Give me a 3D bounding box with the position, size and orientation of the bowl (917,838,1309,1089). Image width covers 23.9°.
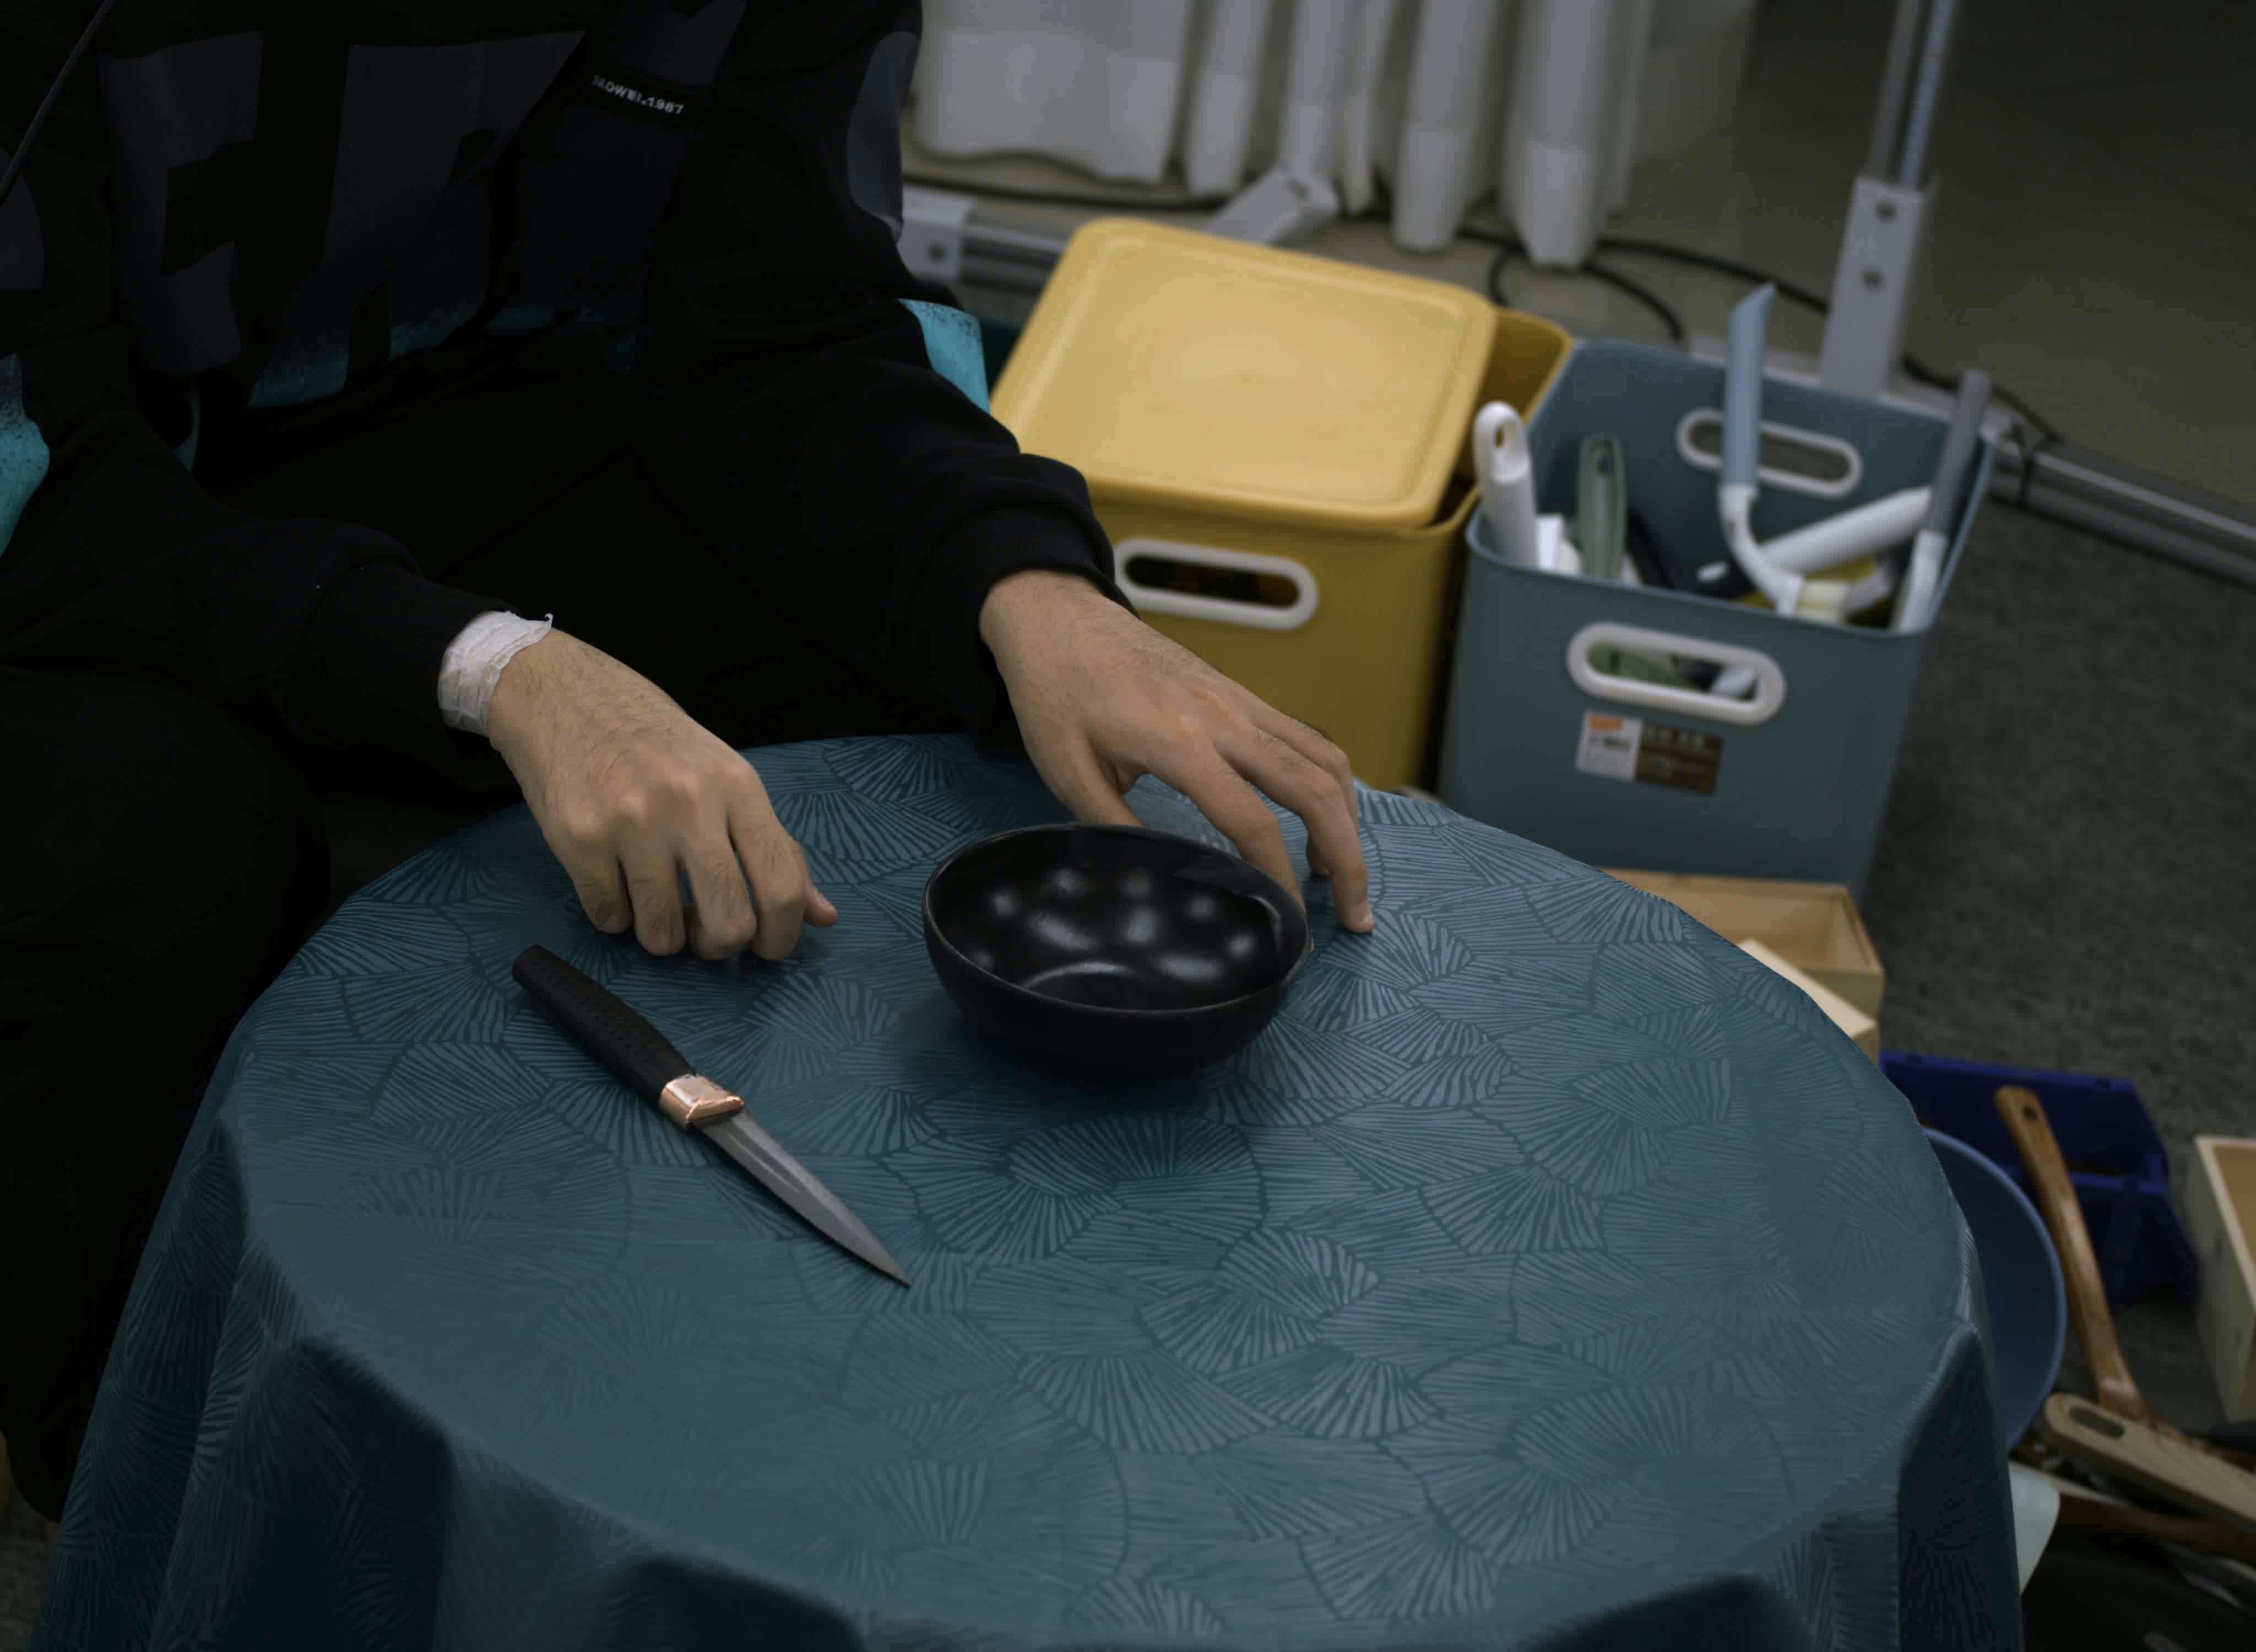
[{"bbox_3d":[-0.006,0.055,1.887,0.139,0.049,0.141,2,25,-1],"label":"bowl"}]

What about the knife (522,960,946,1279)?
[{"bbox_3d":[-0.137,0.100,1.806,0.026,0.017,0.227,-13,34,-39],"label":"knife"}]
